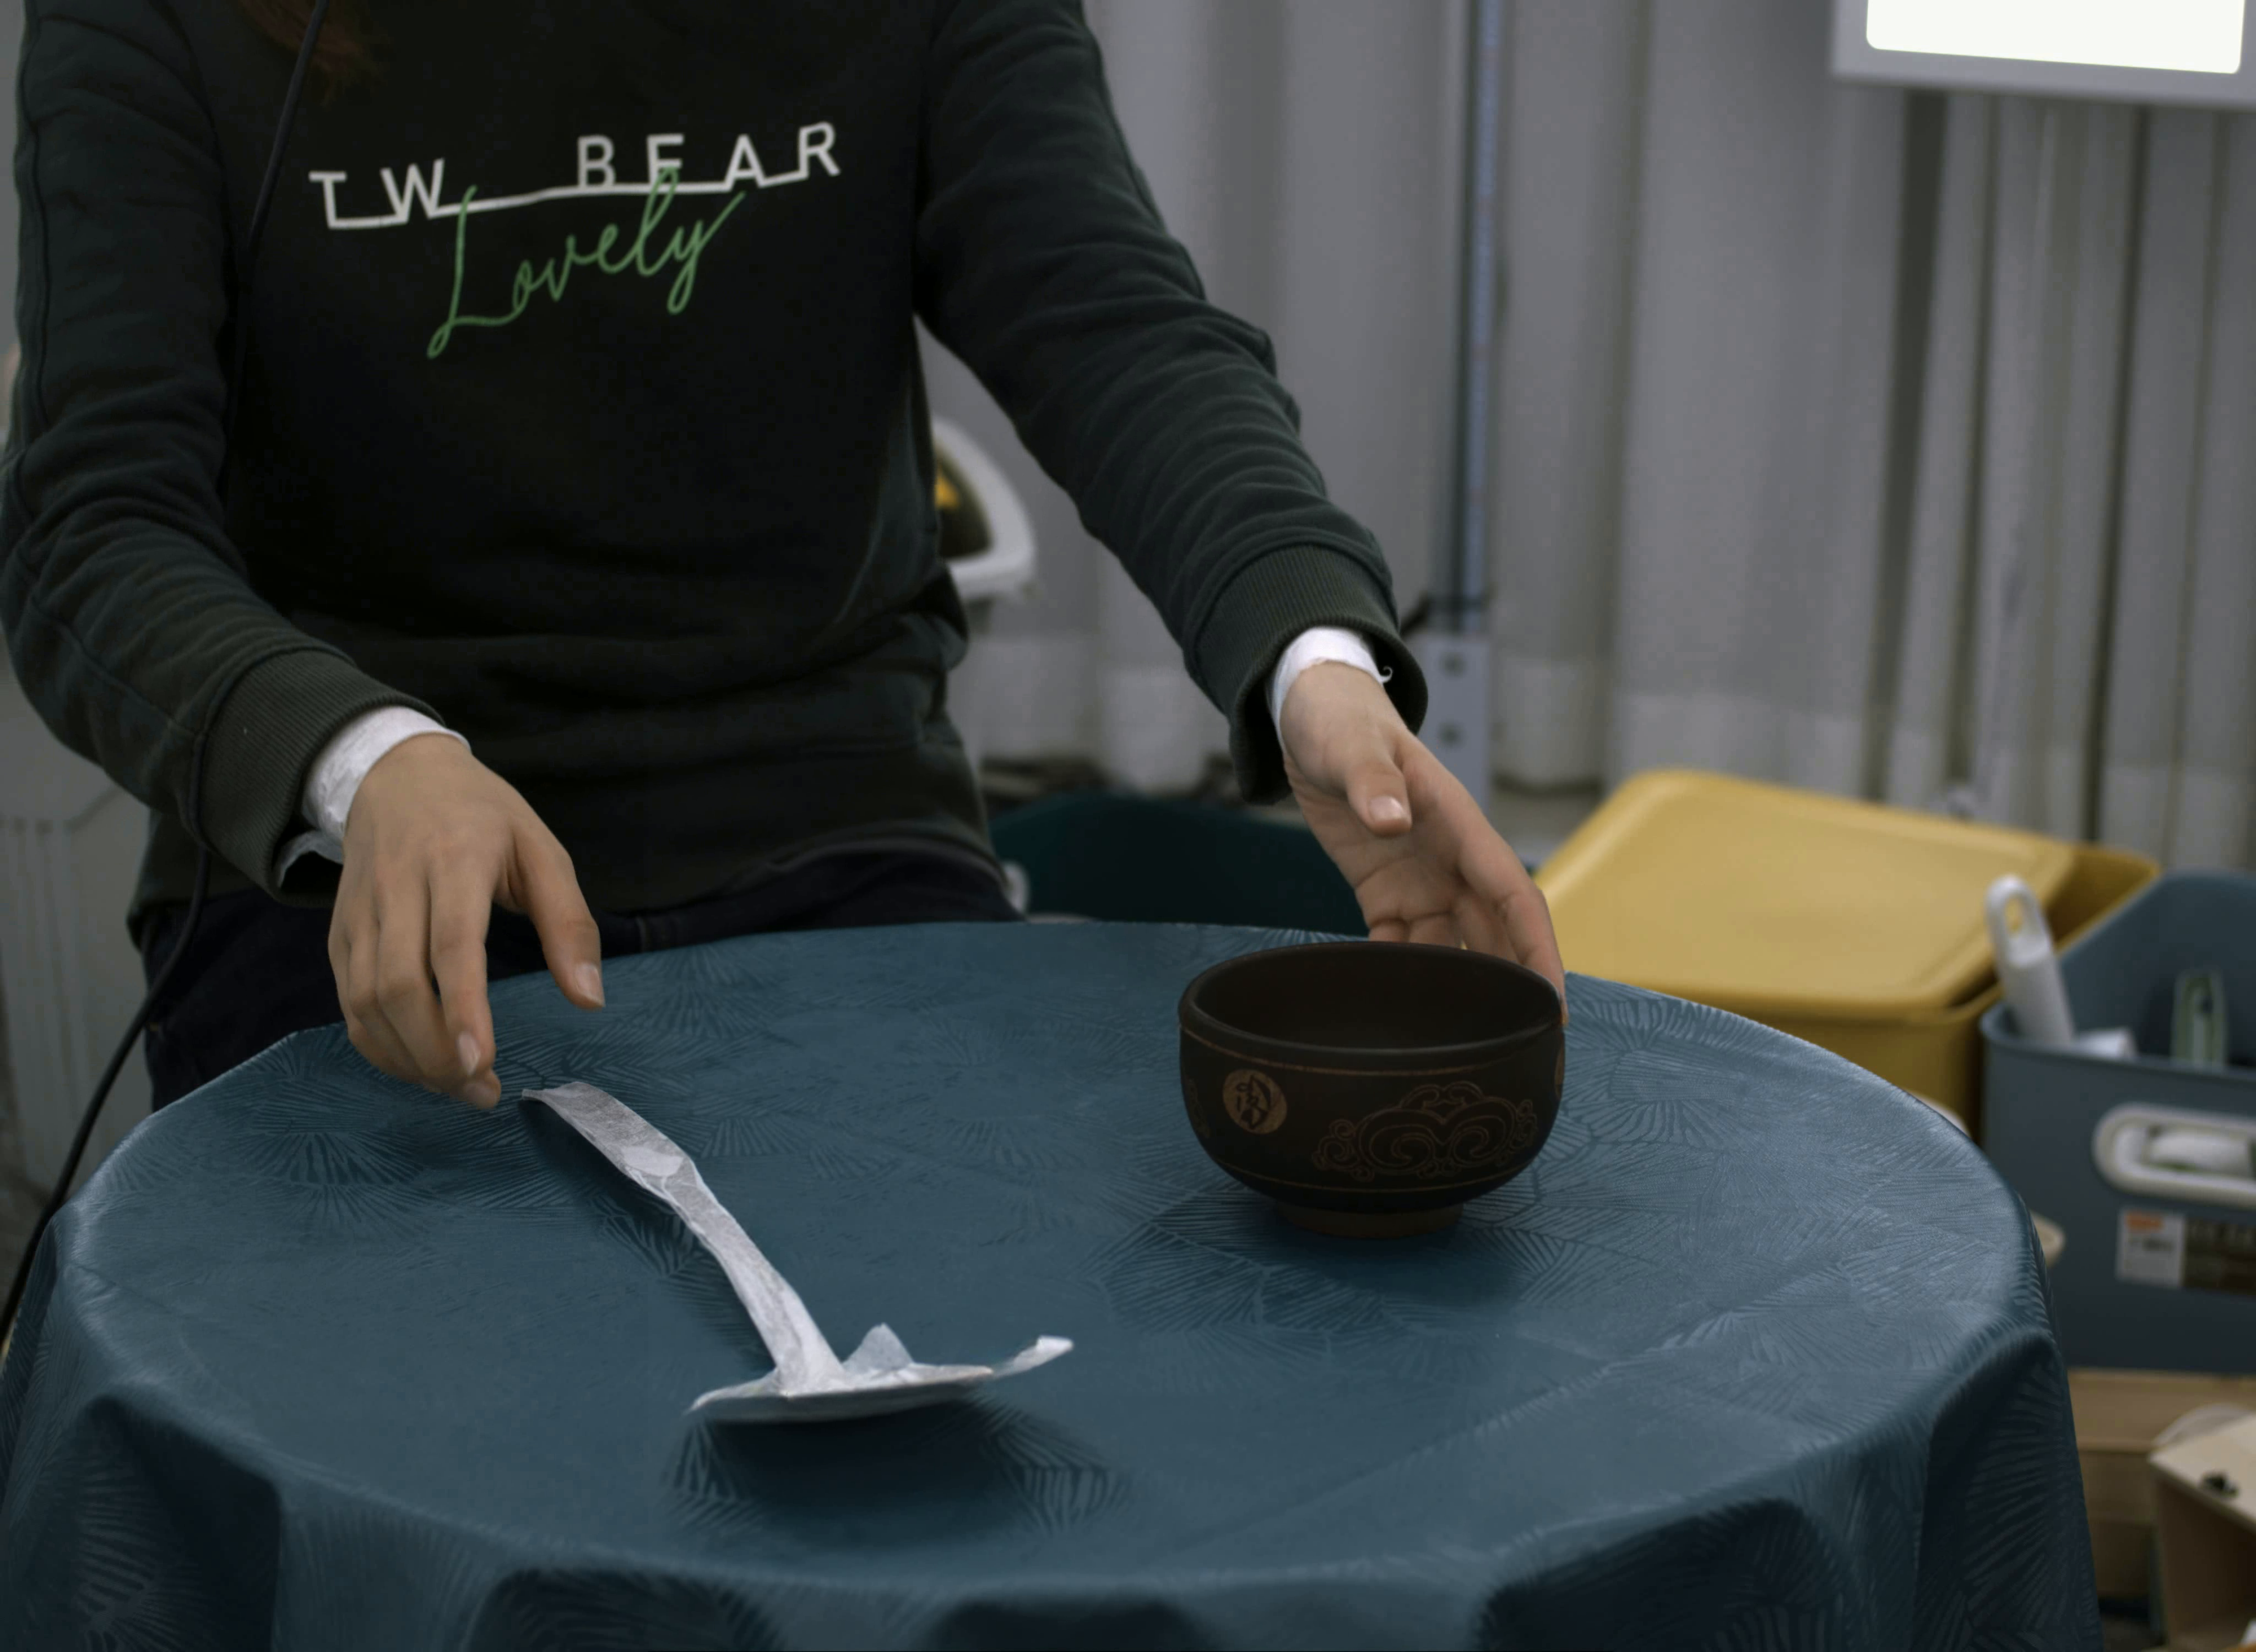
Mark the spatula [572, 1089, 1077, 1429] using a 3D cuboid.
[{"bbox_3d":[-0.114,0.117,1.537,0.099,0.045,0.361,-7,18,-19],"label":"spatula"}]

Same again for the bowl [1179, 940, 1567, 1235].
[{"bbox_3d":[0.074,0.083,1.603,0.117,0.070,0.117,2,15,0],"label":"bowl"}]
